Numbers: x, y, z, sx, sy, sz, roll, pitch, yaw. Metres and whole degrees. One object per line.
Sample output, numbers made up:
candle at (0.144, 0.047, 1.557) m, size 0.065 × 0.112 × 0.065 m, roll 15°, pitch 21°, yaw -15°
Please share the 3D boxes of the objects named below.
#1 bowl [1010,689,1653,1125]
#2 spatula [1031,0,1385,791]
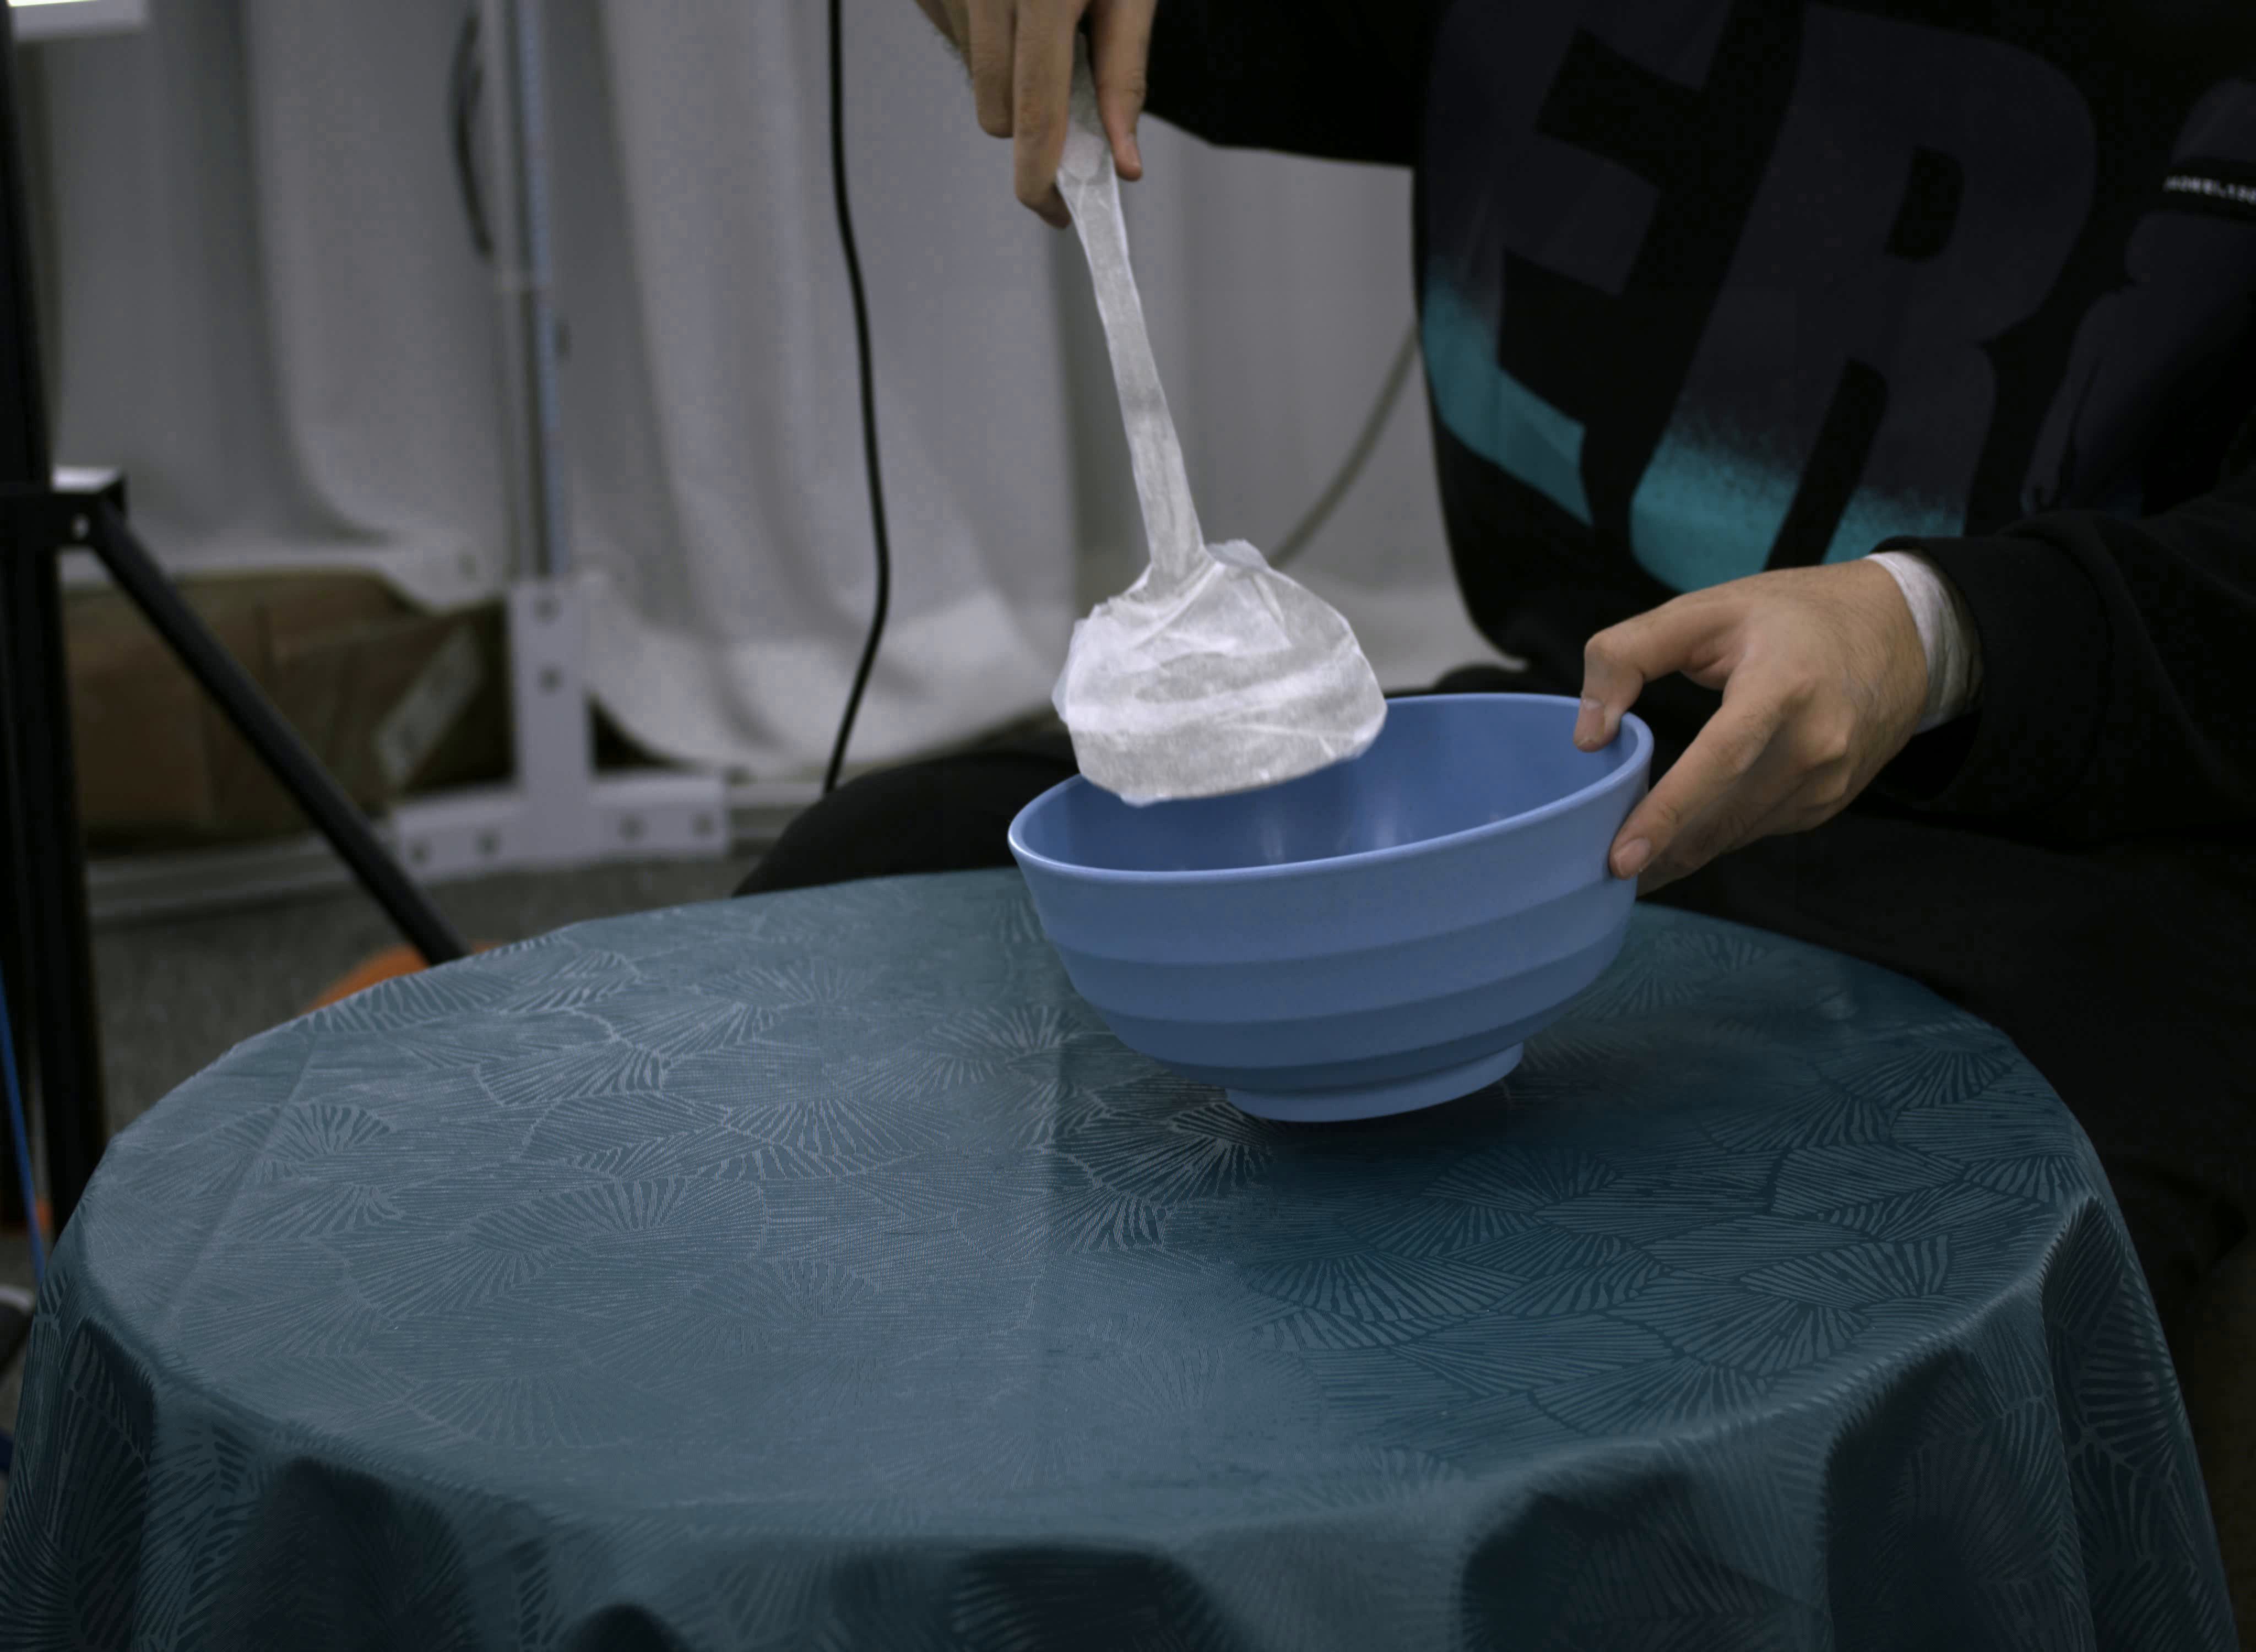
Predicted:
bowl at (0.068, 0.031, 1.607) m, size 0.196 × 0.095 × 0.197 m, roll -10°, pitch 14°, yaw 1°
spatula at (0.001, -0.164, 1.715) m, size 0.098 × 0.370 × 0.044 m, roll -12°, pitch -27°, yaw 0°
